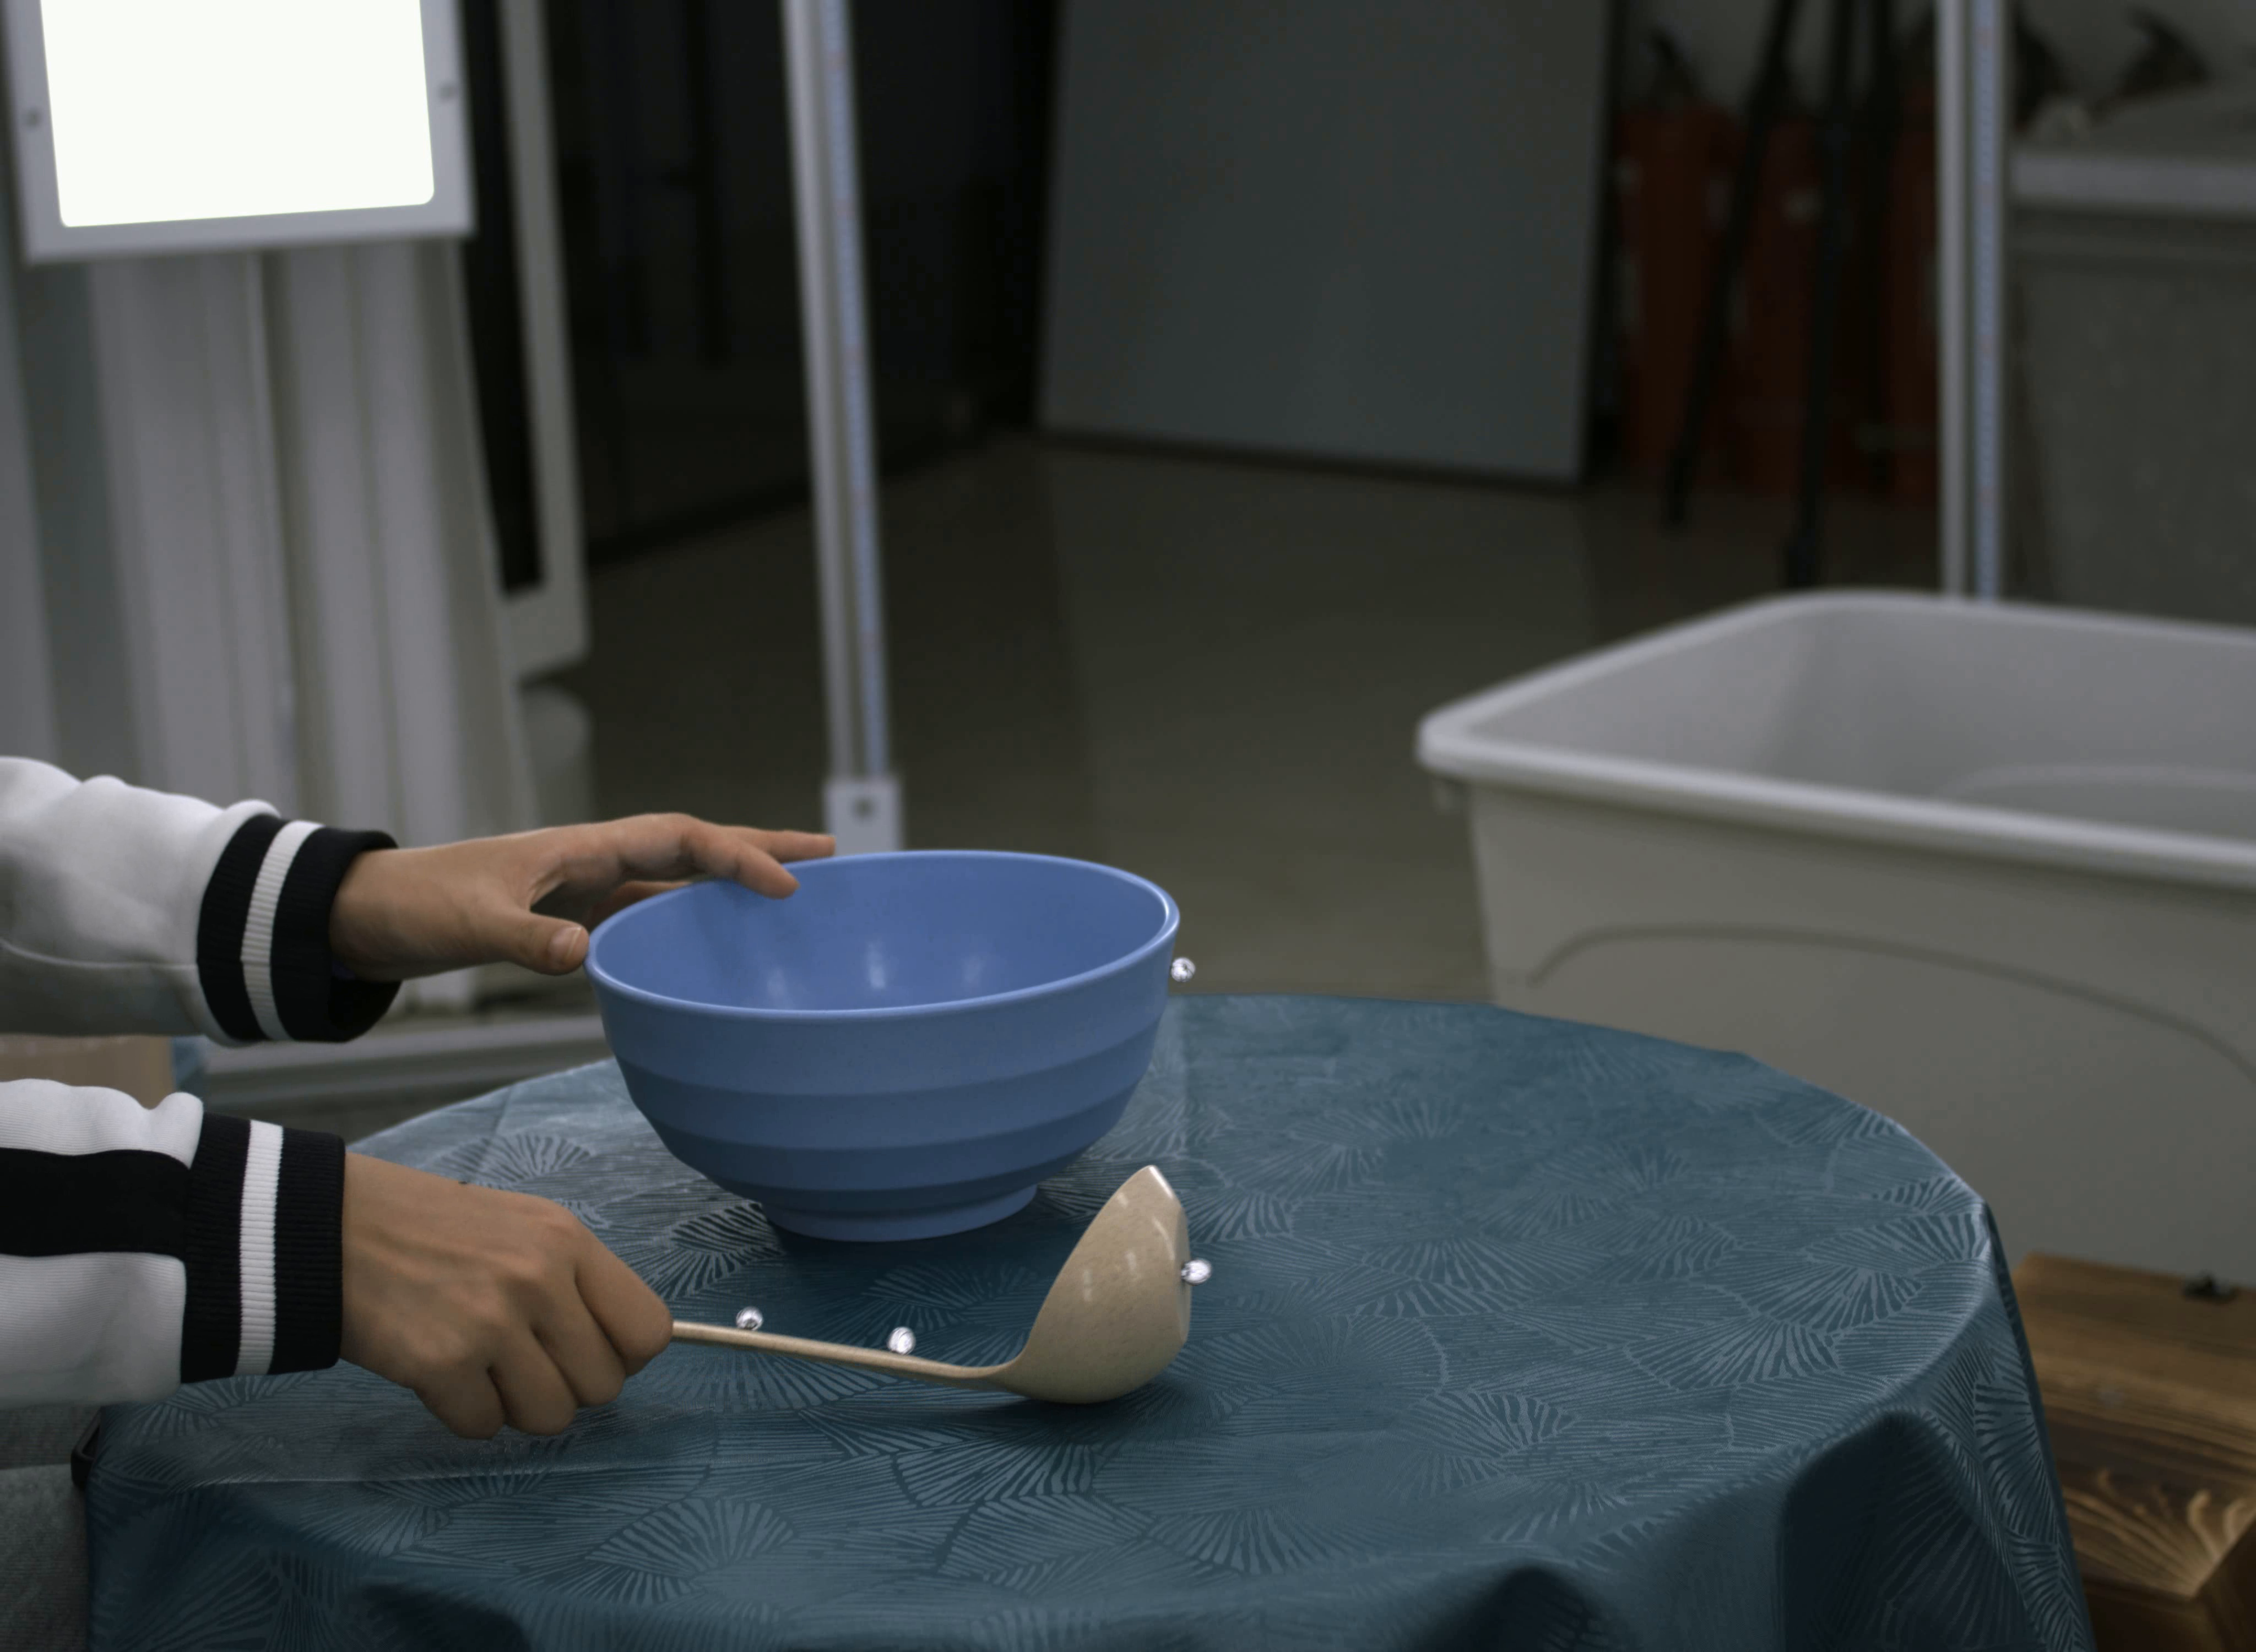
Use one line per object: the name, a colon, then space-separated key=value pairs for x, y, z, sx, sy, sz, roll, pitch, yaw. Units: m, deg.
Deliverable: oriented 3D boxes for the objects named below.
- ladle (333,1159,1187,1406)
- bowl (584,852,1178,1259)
ladle: x=-0.107 y=0.127 z=1.590 sx=0.252 sy=0.073 sz=0.072 roll=3 pitch=-15 yaw=10
bowl: x=-0.077 y=0.081 z=1.769 sx=0.194 sy=0.096 sz=0.197 roll=-4 pitch=15 yaw=0
